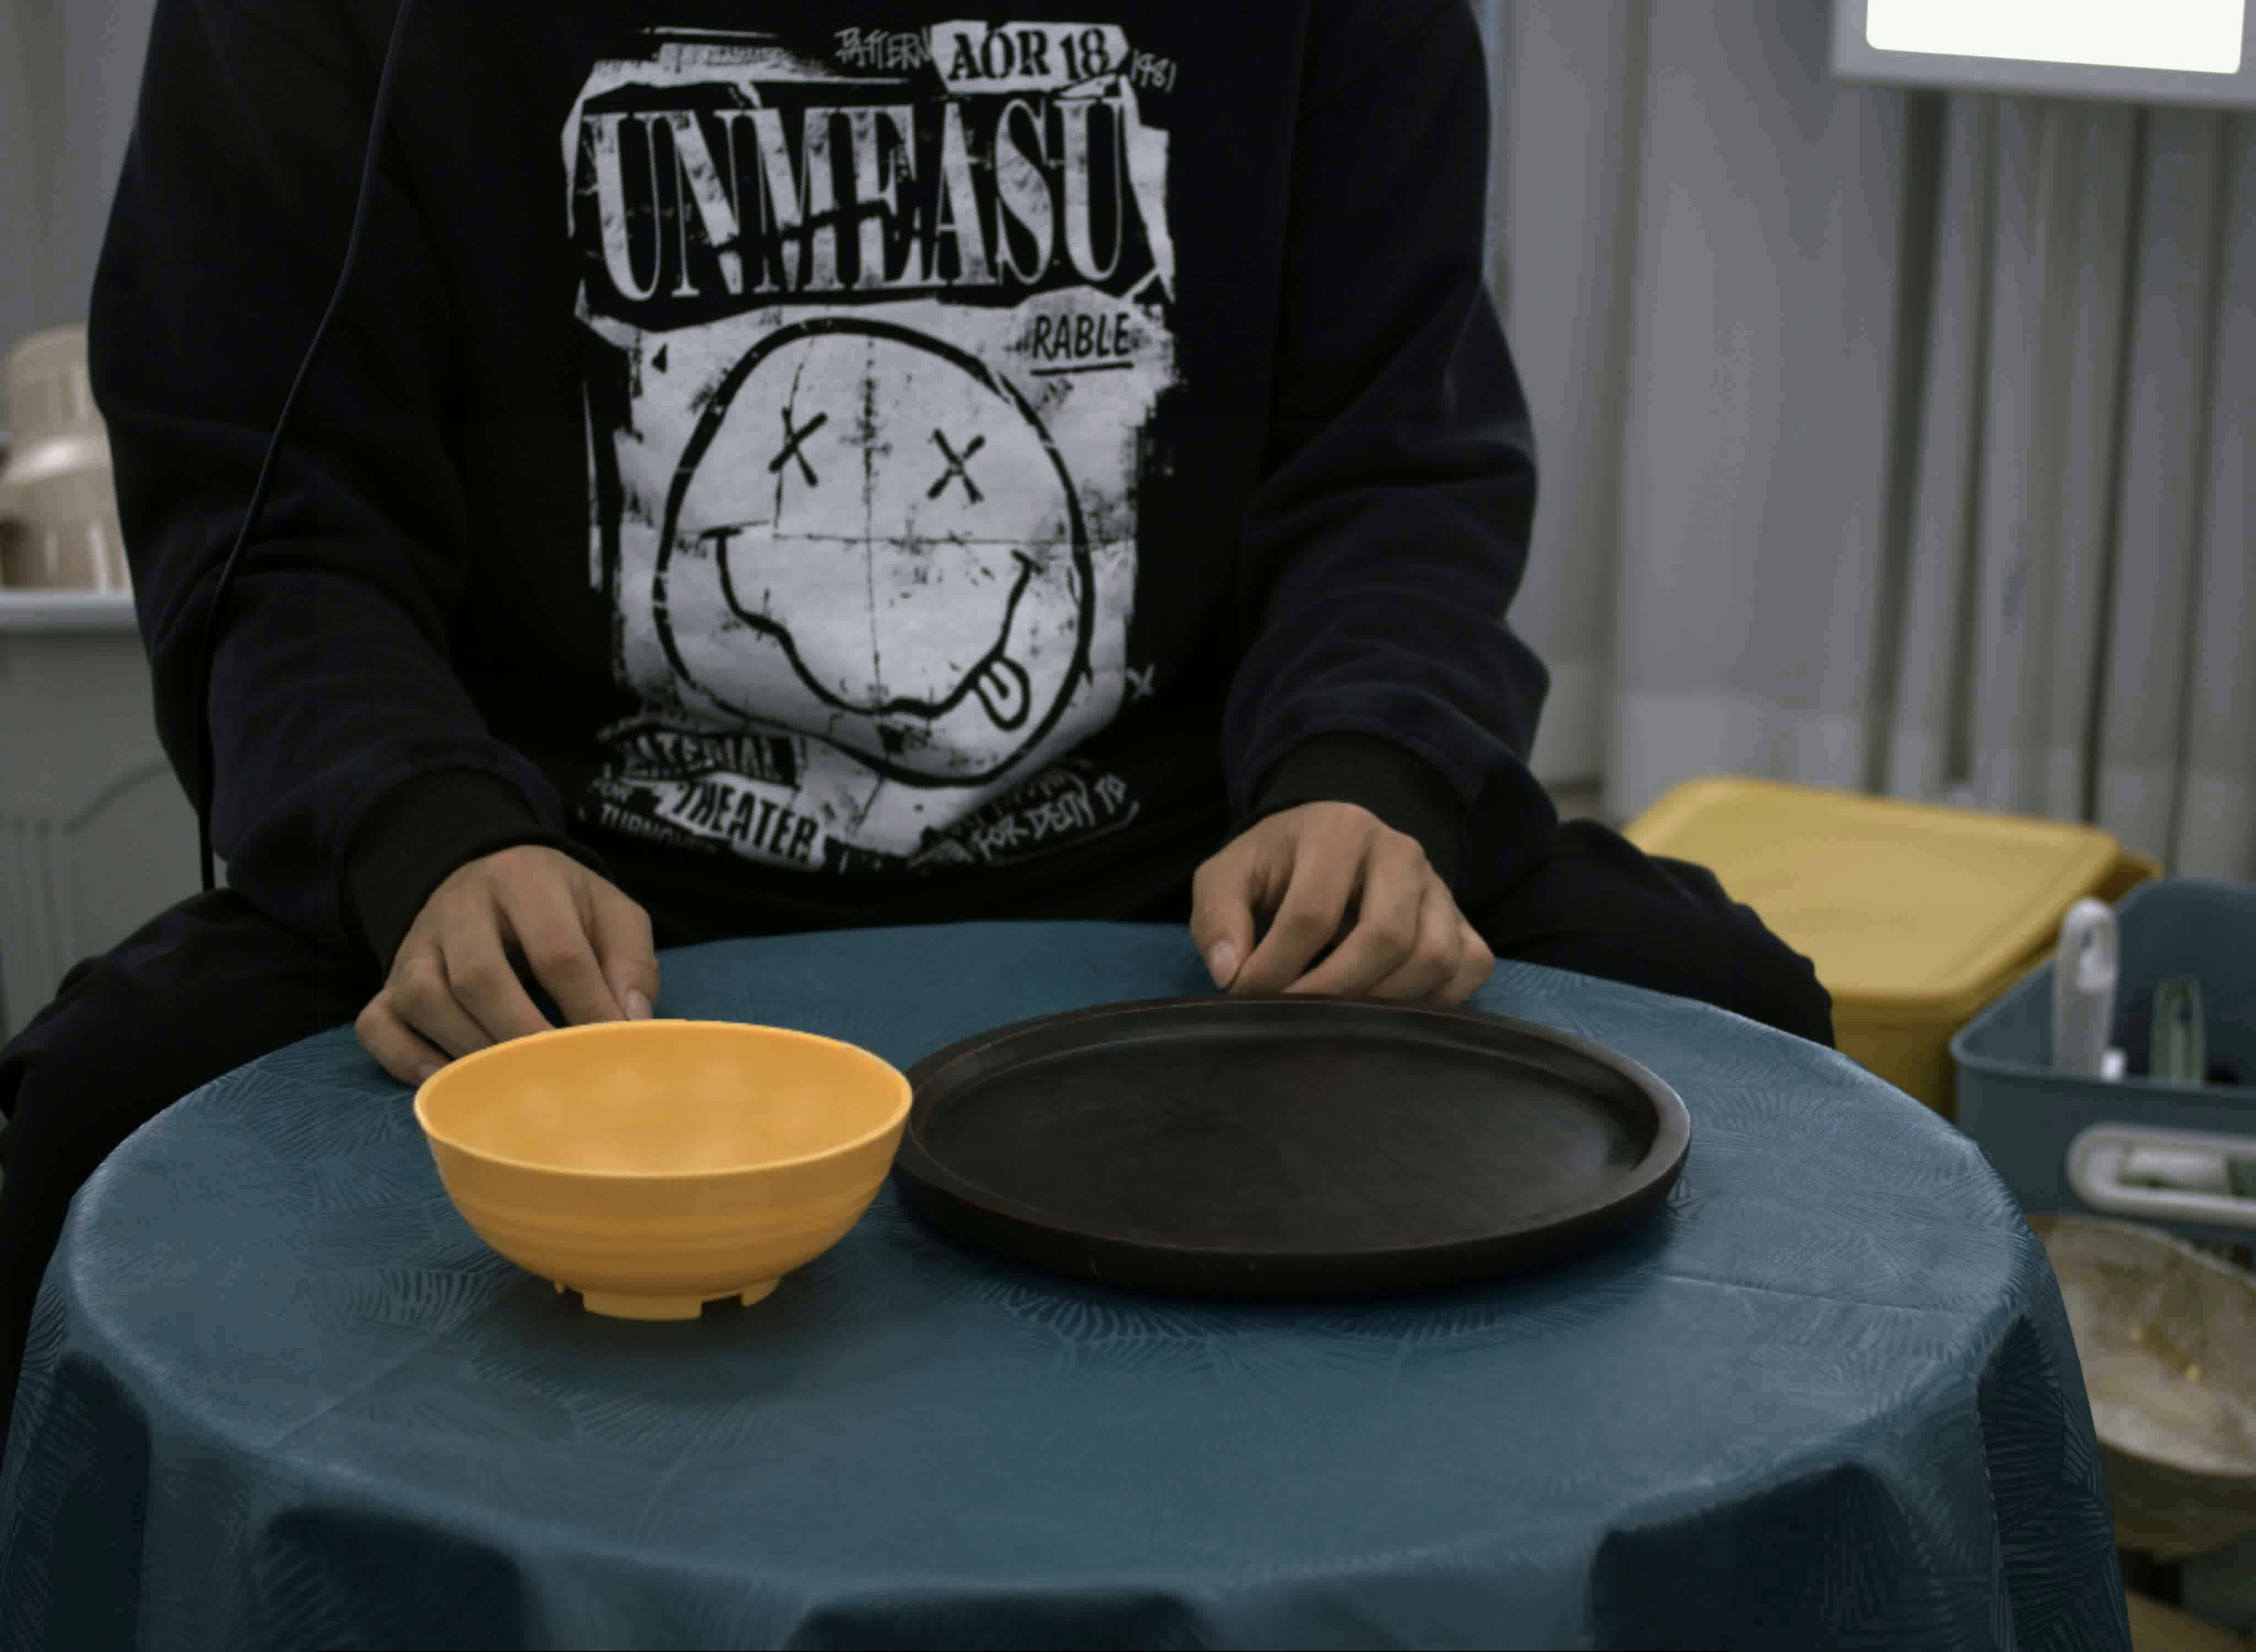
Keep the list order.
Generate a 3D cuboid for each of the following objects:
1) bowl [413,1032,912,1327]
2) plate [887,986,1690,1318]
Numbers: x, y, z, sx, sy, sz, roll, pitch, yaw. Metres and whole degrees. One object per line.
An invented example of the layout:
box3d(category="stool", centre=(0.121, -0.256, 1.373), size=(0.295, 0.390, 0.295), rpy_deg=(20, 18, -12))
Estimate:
box3d(category="bowl", centre=(-0.136, 0.107, 1.536), size=(0.145, 0.060, 0.144), rpy_deg=(2, 14, 0))
box3d(category="plate", centre=(0.048, 0.099, 1.637), size=(0.254, 0.029, 0.253), rpy_deg=(-1, 16, 1))
